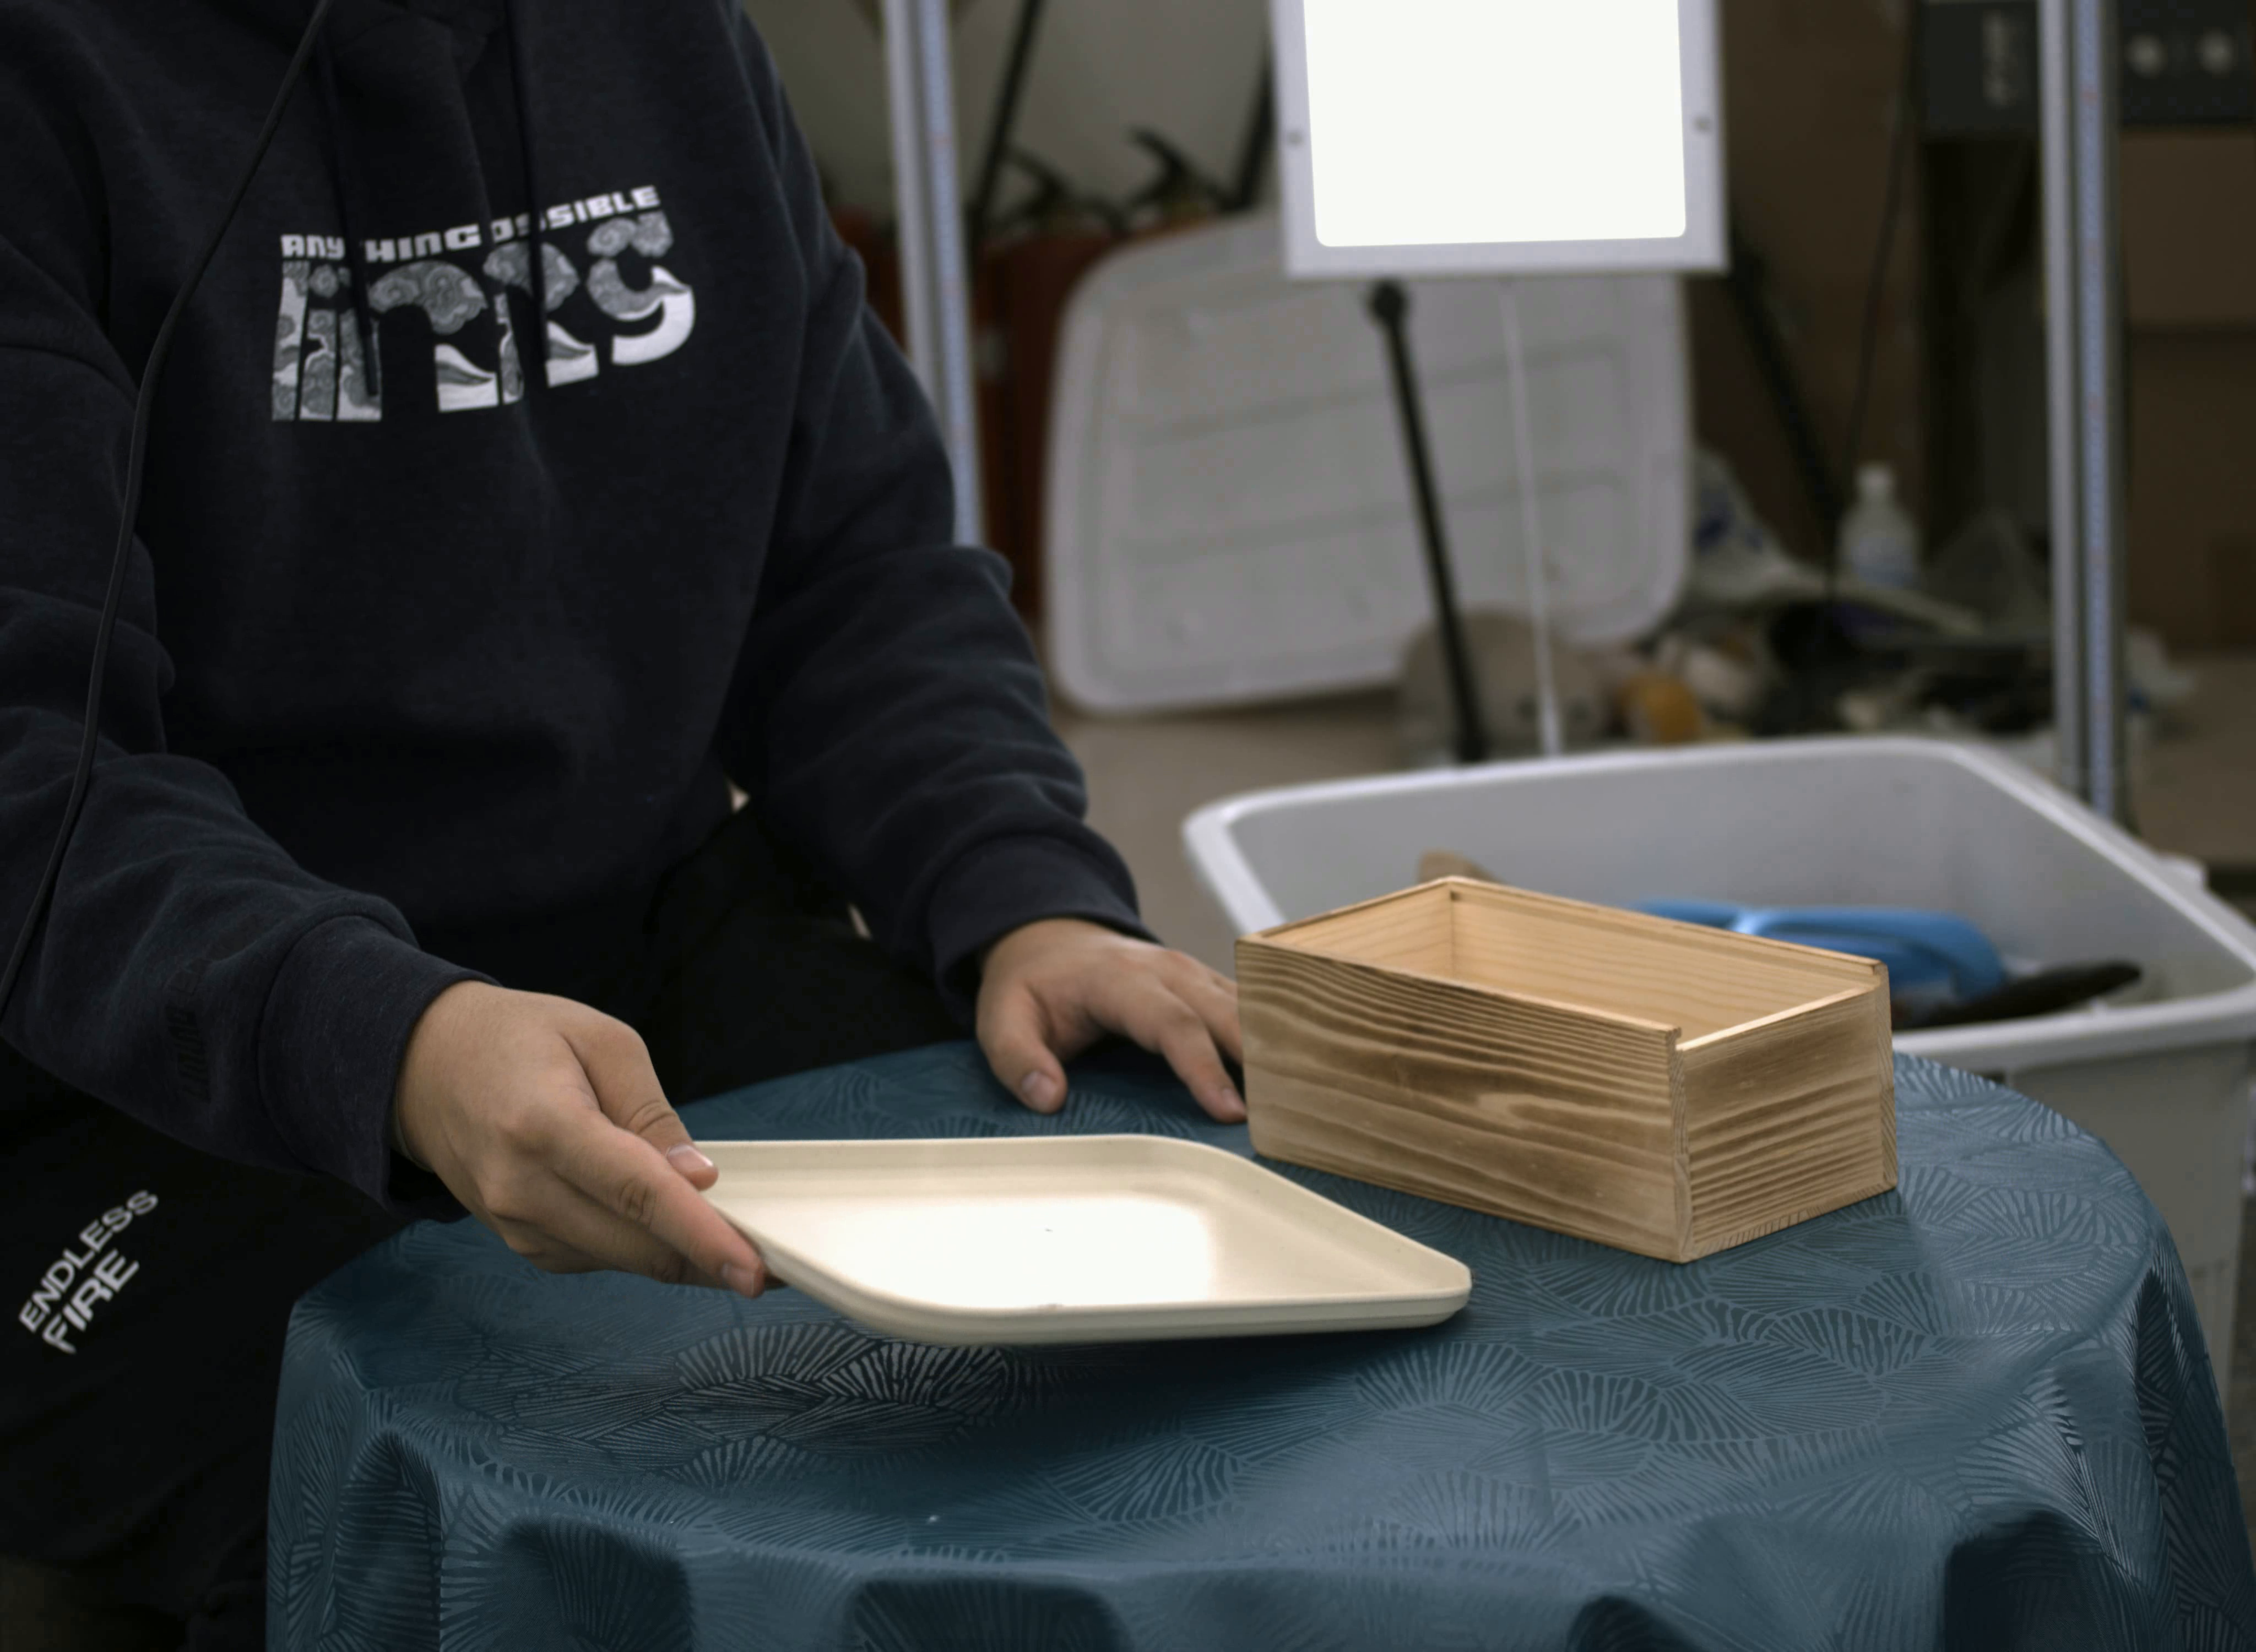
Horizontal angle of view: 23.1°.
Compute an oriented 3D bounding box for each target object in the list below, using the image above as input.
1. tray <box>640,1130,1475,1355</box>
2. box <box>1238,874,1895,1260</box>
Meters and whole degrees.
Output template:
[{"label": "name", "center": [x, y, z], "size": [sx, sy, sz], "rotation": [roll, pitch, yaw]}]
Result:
[{"label": "tray", "center": [-0.022, 0.131, 1.730], "size": [0.234, 0.017, 0.174], "rotation": [0, 14, -36]}, {"label": "box", "center": [0.148, 0.079, 1.873], "size": [0.105, 0.080, 0.216], "rotation": [-15, 16, -37]}]
